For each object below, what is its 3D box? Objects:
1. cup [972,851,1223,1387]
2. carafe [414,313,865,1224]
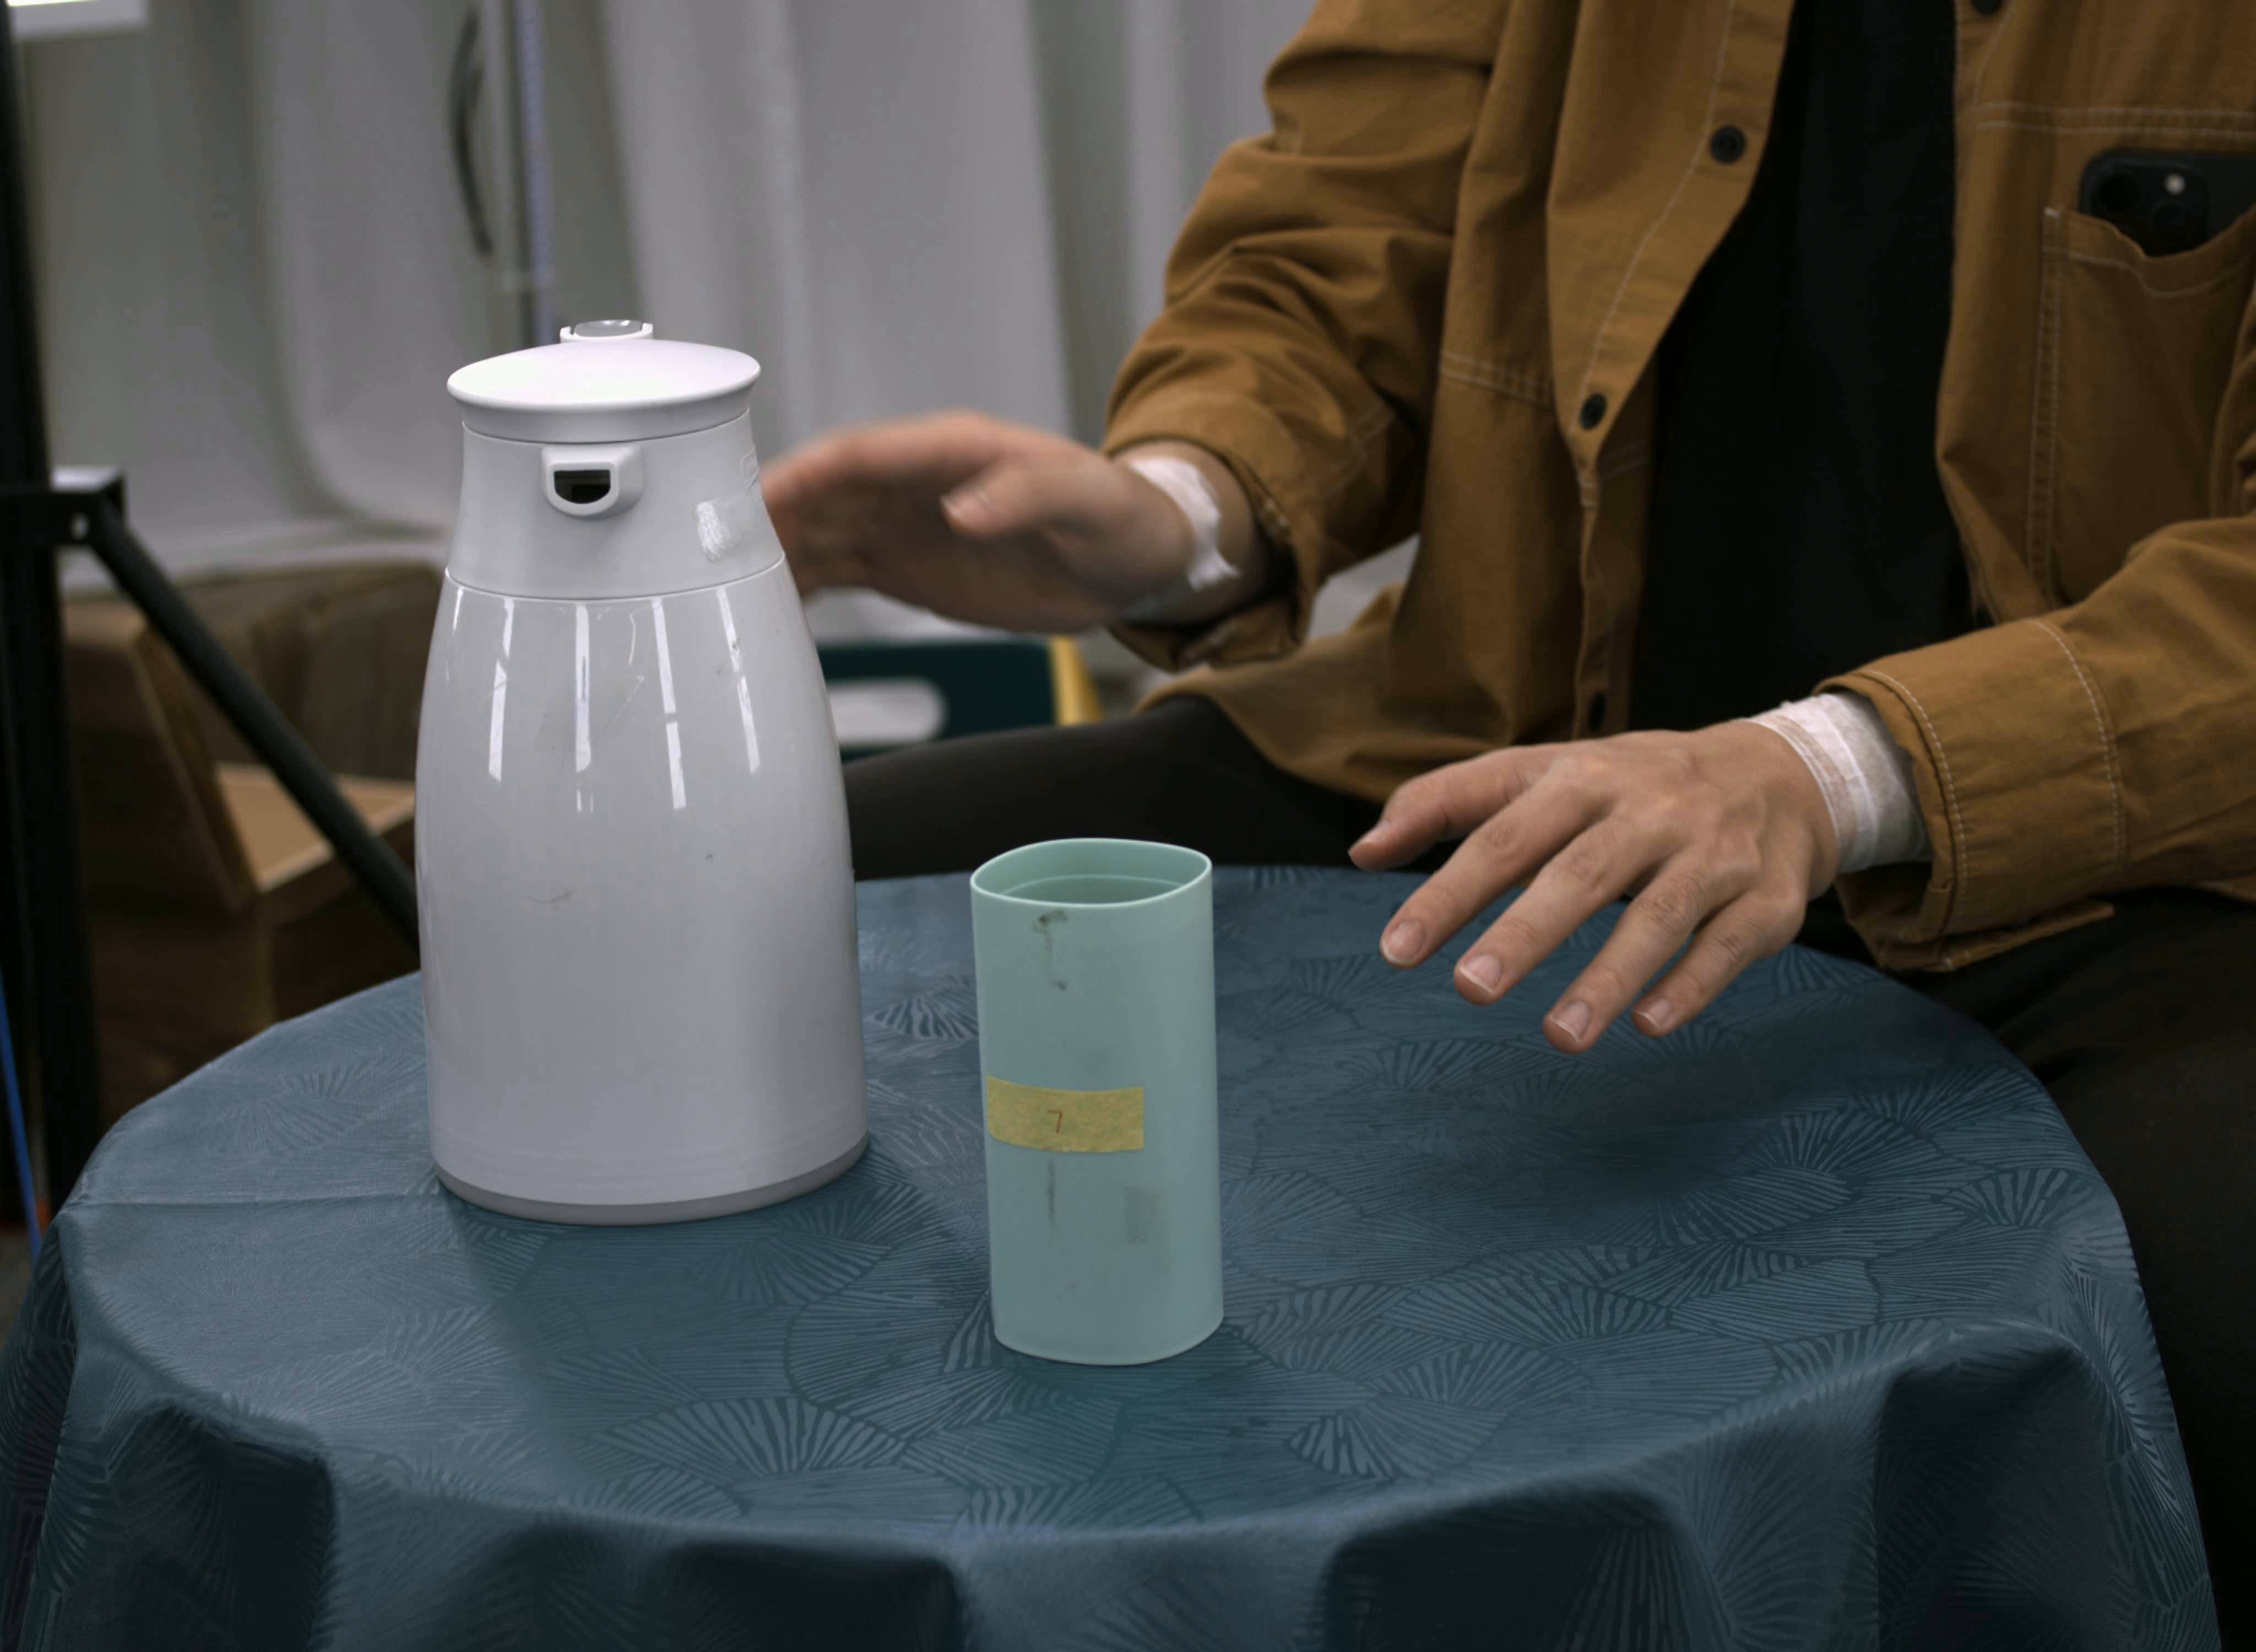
[{"bbox_3d":[-0.006,0.078,1.436,0.066,0.132,0.067,-2,15,-1],"label":"cup"},{"bbox_3d":[-0.149,-0.025,1.599,0.132,0.248,0.168,-2,14,2],"label":"carafe"}]
